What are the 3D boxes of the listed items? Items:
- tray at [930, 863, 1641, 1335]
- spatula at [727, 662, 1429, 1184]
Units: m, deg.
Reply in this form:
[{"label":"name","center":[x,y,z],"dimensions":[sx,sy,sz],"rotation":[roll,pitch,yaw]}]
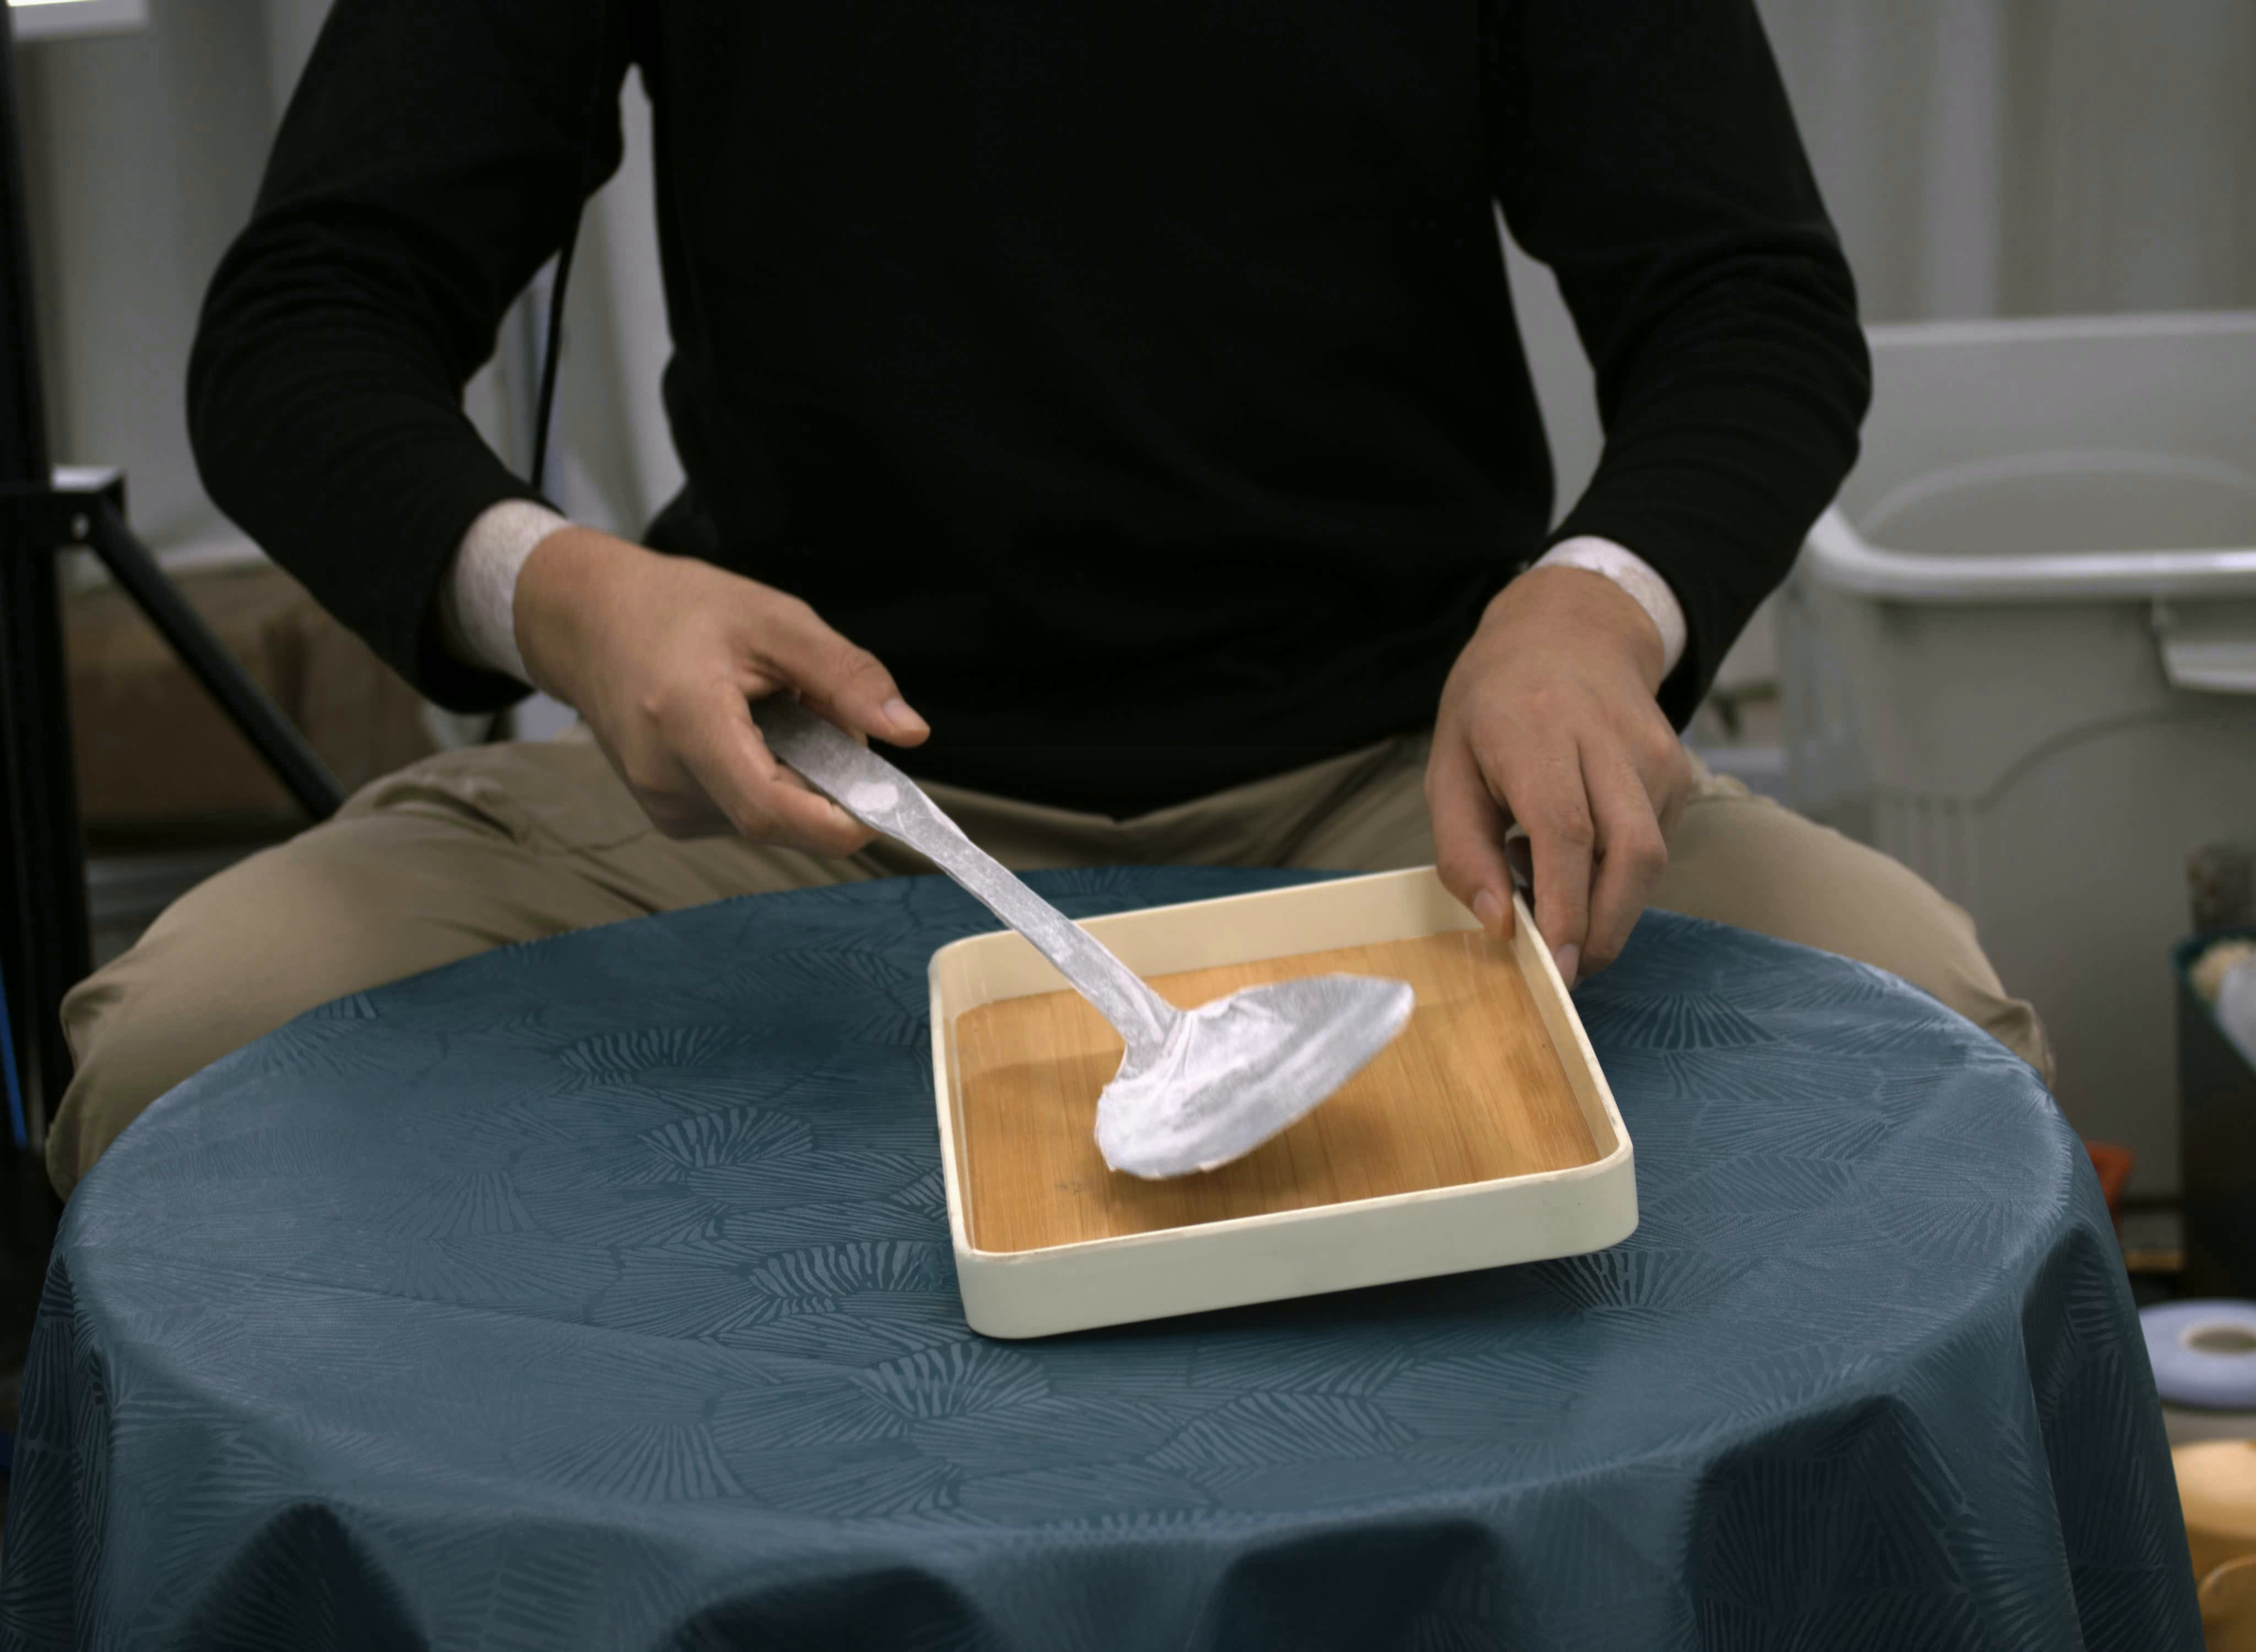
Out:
[{"label":"tray","center":[0.039,0.076,1.578],"dimensions":[0.191,0.027,0.302],"rotation":[-9,16,0]},{"label":"spatula","center":[-0.039,0.015,1.625],"dimensions":[0.098,0.044,0.373],"rotation":[-35,41,-16]}]
